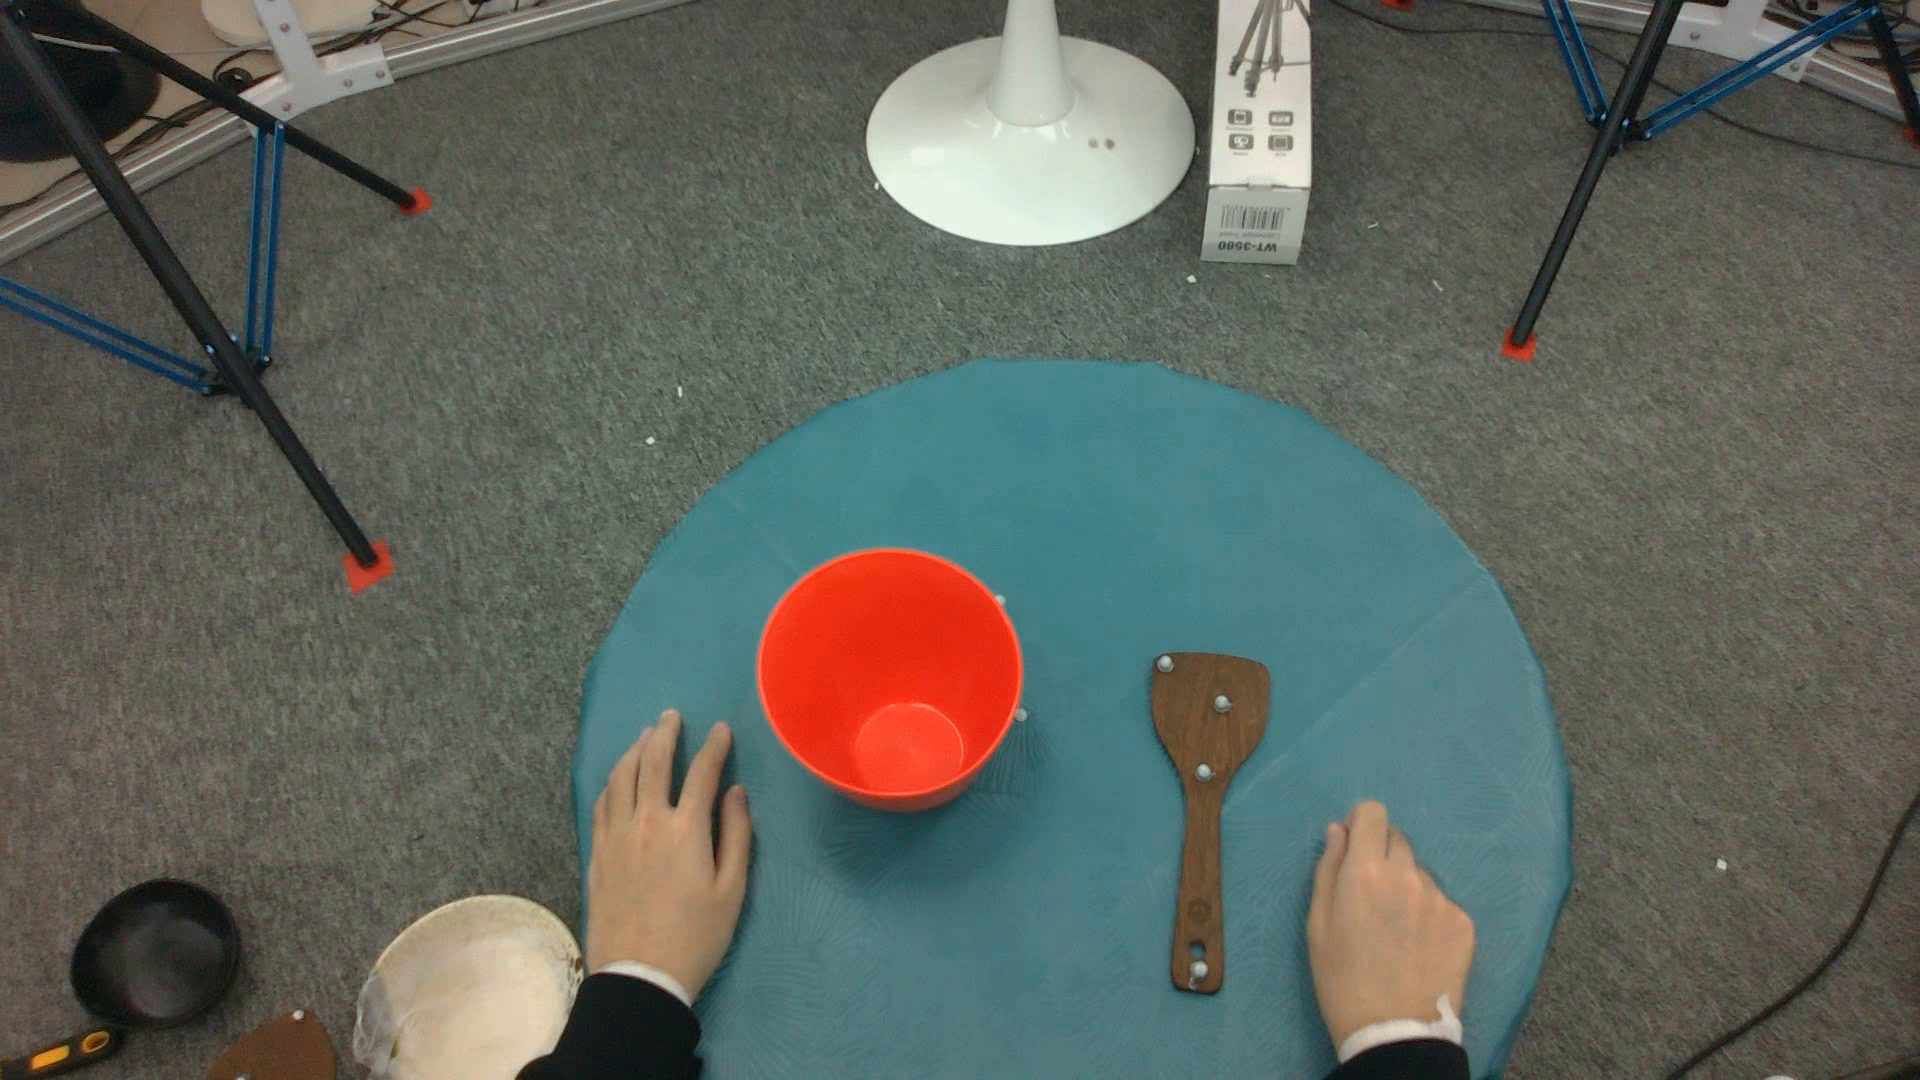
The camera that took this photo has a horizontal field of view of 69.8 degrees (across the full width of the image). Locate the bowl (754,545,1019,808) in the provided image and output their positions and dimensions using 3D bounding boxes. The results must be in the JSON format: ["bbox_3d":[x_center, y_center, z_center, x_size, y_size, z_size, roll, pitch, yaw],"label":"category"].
[{"bbox_3d":[-0.040,0.091,0.799,0.148,0.104,0.148,0,55,0],"label":"bowl"}]

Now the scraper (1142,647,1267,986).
[{"bbox_3d":[0.140,0.155,0.805,0.076,0.011,0.212,6,54,6],"label":"scraper"}]
